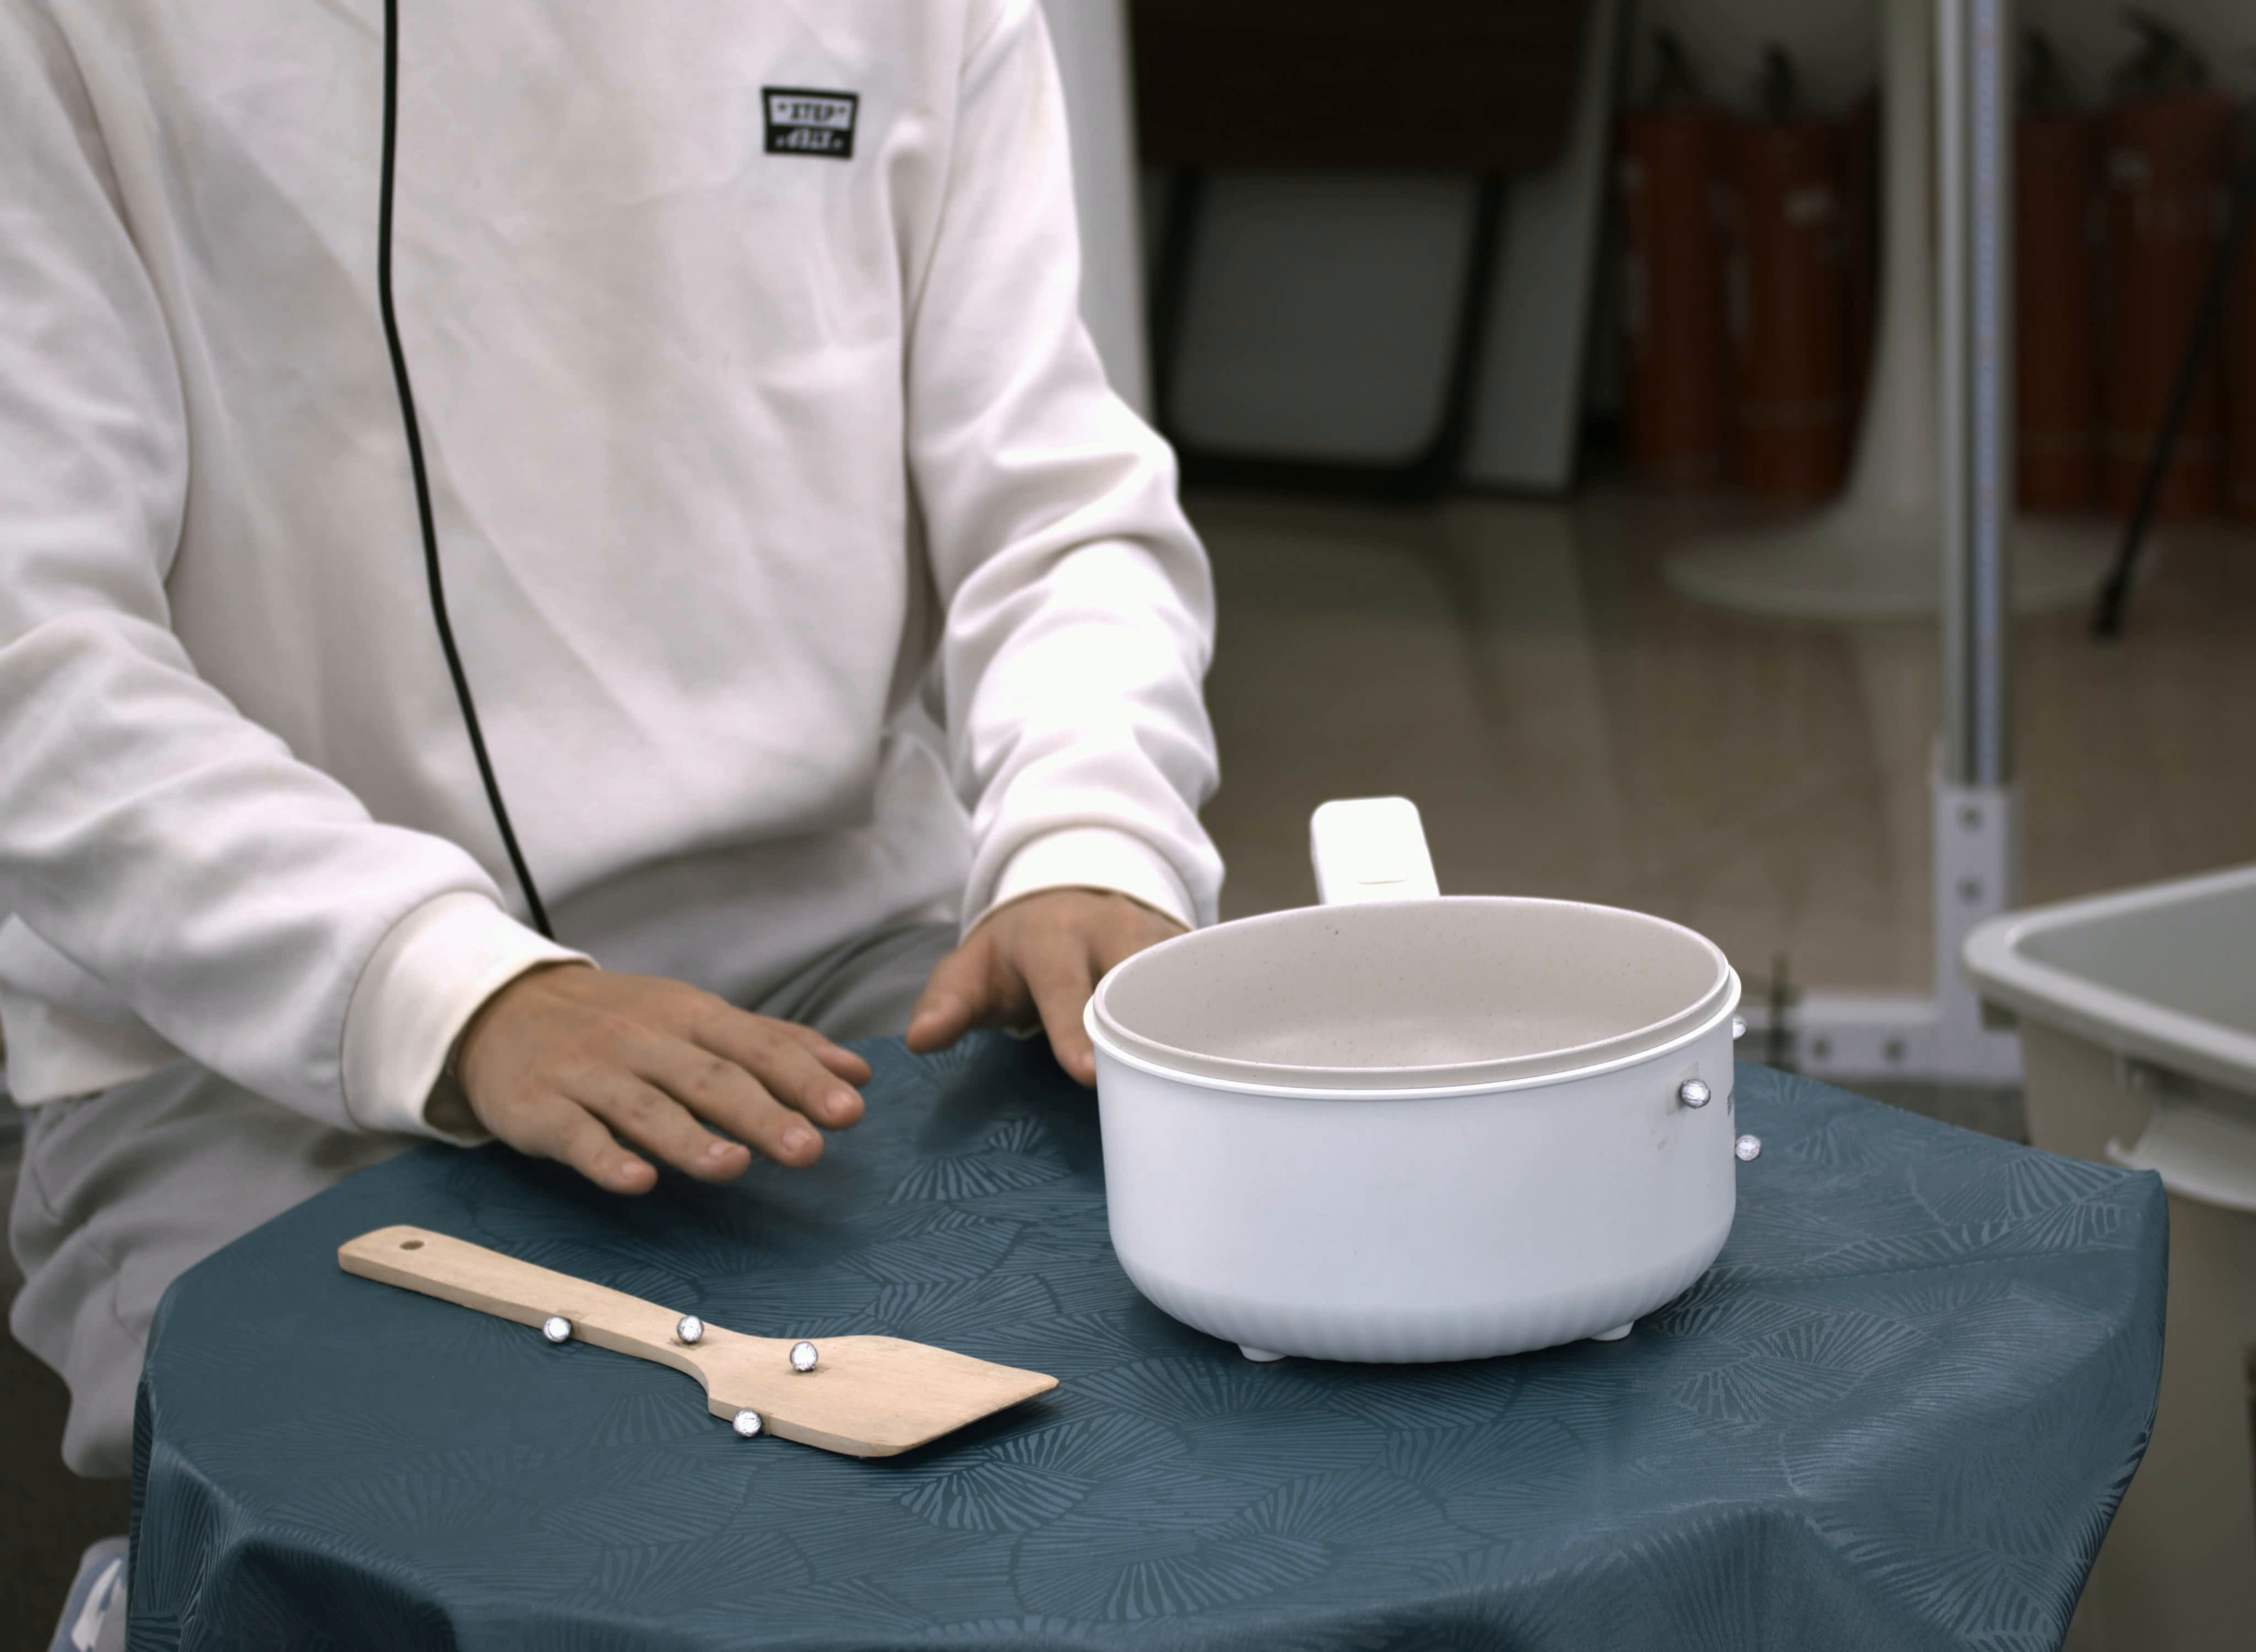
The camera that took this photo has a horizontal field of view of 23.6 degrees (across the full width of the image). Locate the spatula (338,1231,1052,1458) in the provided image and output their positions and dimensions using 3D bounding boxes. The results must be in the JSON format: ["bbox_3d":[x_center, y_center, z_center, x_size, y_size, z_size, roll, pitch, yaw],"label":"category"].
[{"bbox_3d":[-0.146,0.156,1.656,0.071,0.011,0.296,-18,19,-42],"label":"spatula"}]

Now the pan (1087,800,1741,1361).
[{"bbox_3d":[0.088,0.077,1.720,0.198,0.103,0.355,-4,13,0],"label":"pan"}]
